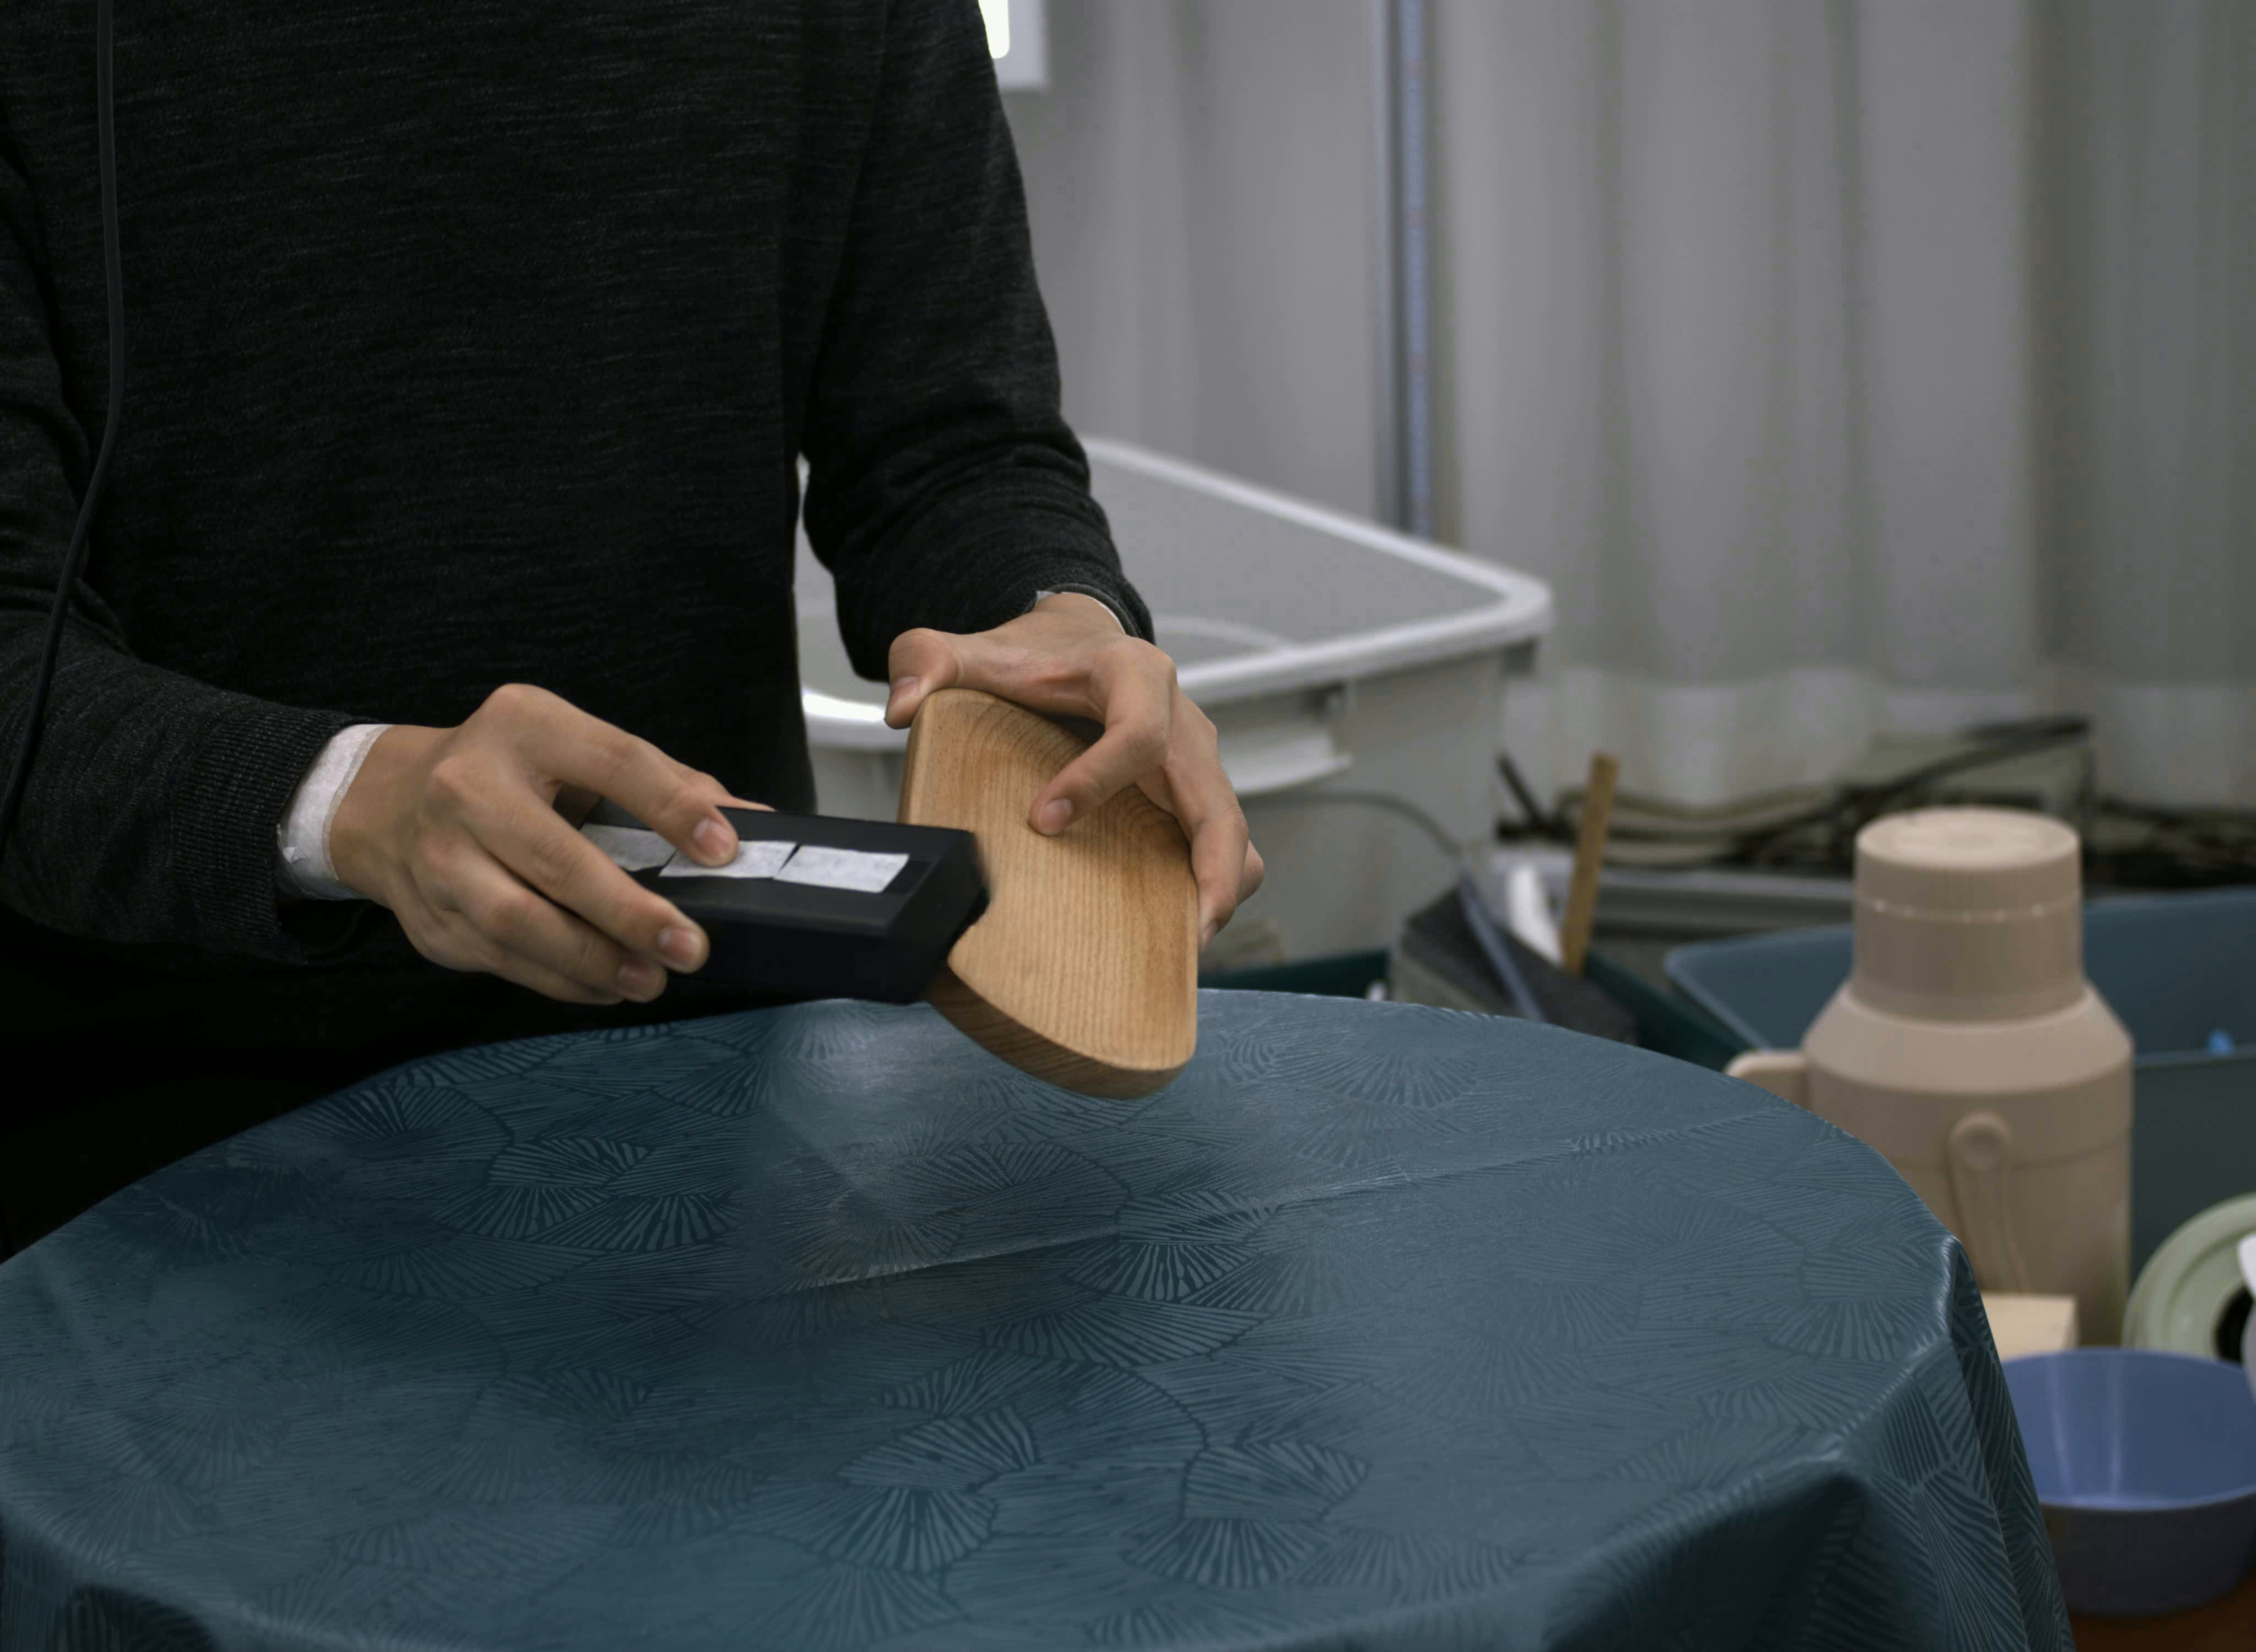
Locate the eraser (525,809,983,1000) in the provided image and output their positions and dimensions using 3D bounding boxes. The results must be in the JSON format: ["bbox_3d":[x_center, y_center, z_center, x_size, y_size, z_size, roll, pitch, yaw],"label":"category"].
[{"bbox_3d":[-0.105,0.021,1.554,0.126,0.030,0.054,3,35,29],"label":"eraser"}]

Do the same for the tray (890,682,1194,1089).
[{"bbox_3d":[-0.027,0.016,1.648,0.101,0.020,0.233,31,18,-12],"label":"tray"}]
